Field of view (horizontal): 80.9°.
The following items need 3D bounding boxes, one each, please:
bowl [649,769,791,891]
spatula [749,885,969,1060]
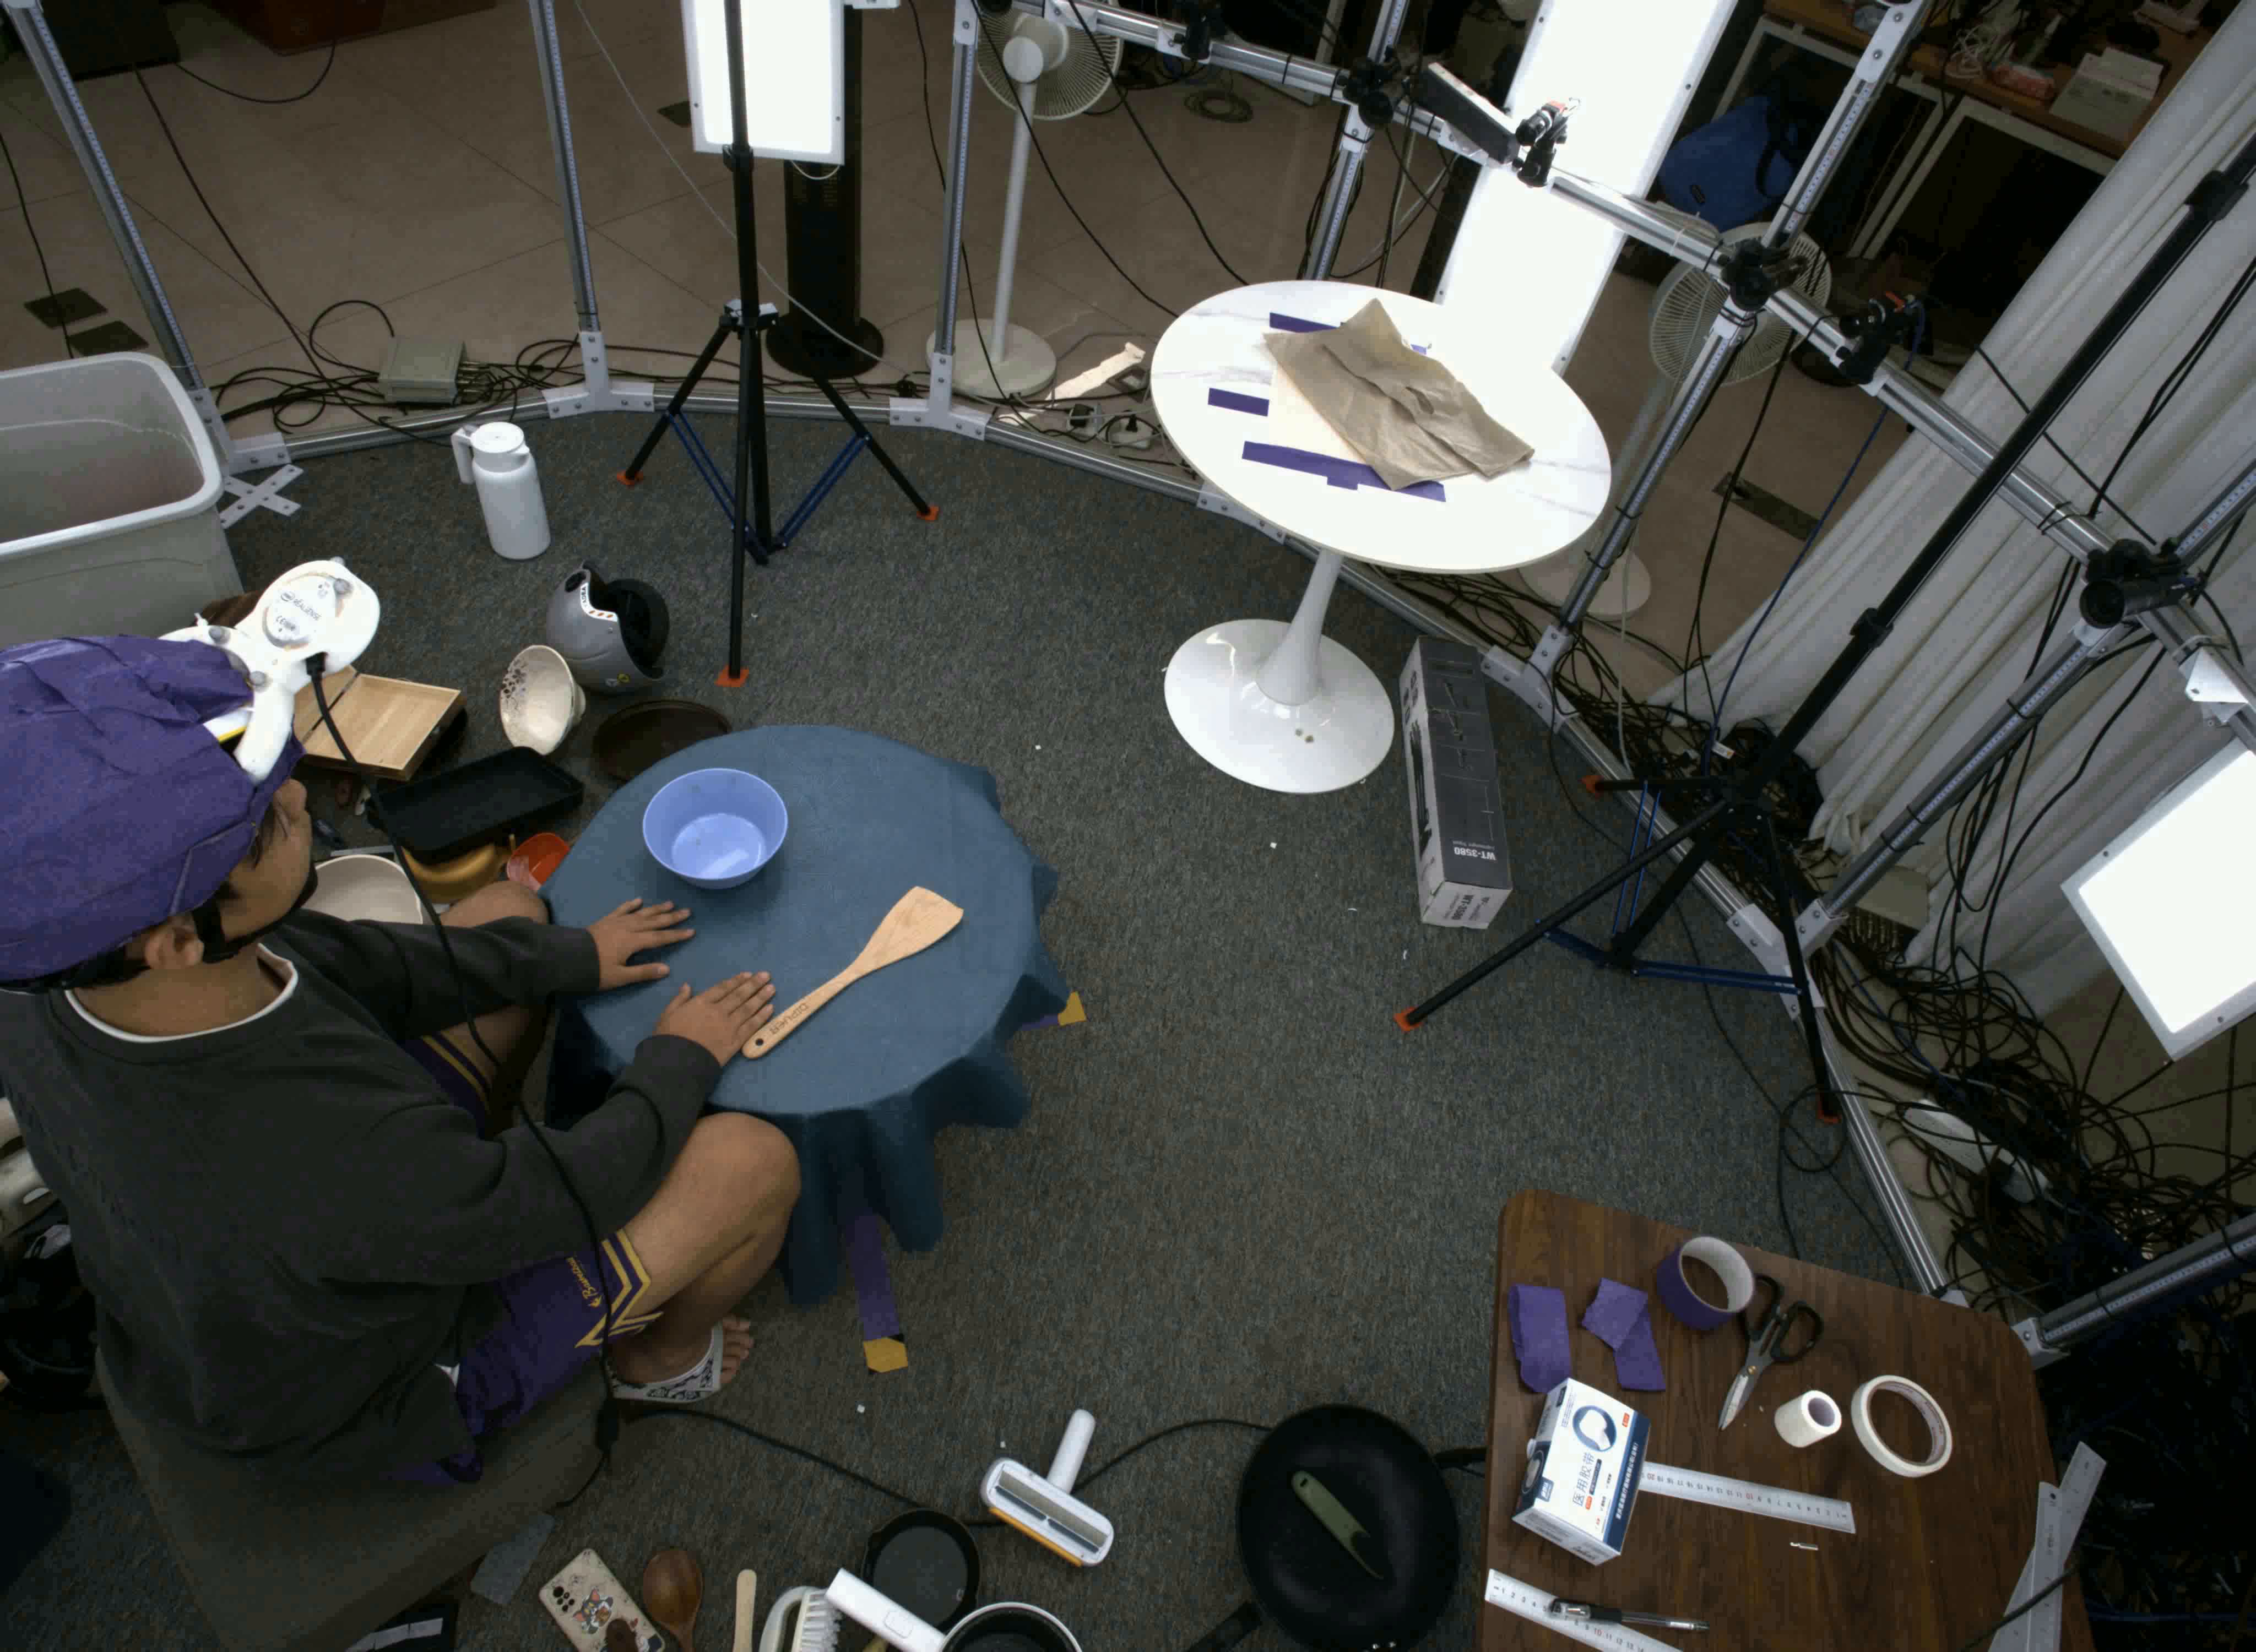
[{"bbox_3d":[-0.518,0.014,1.649,0.176,0.072,0.173,8,52,-8],"label":"bowl"},{"bbox_3d":[-0.337,0.178,1.608,0.078,0.017,0.328,40,55,15],"label":"spatula"}]
